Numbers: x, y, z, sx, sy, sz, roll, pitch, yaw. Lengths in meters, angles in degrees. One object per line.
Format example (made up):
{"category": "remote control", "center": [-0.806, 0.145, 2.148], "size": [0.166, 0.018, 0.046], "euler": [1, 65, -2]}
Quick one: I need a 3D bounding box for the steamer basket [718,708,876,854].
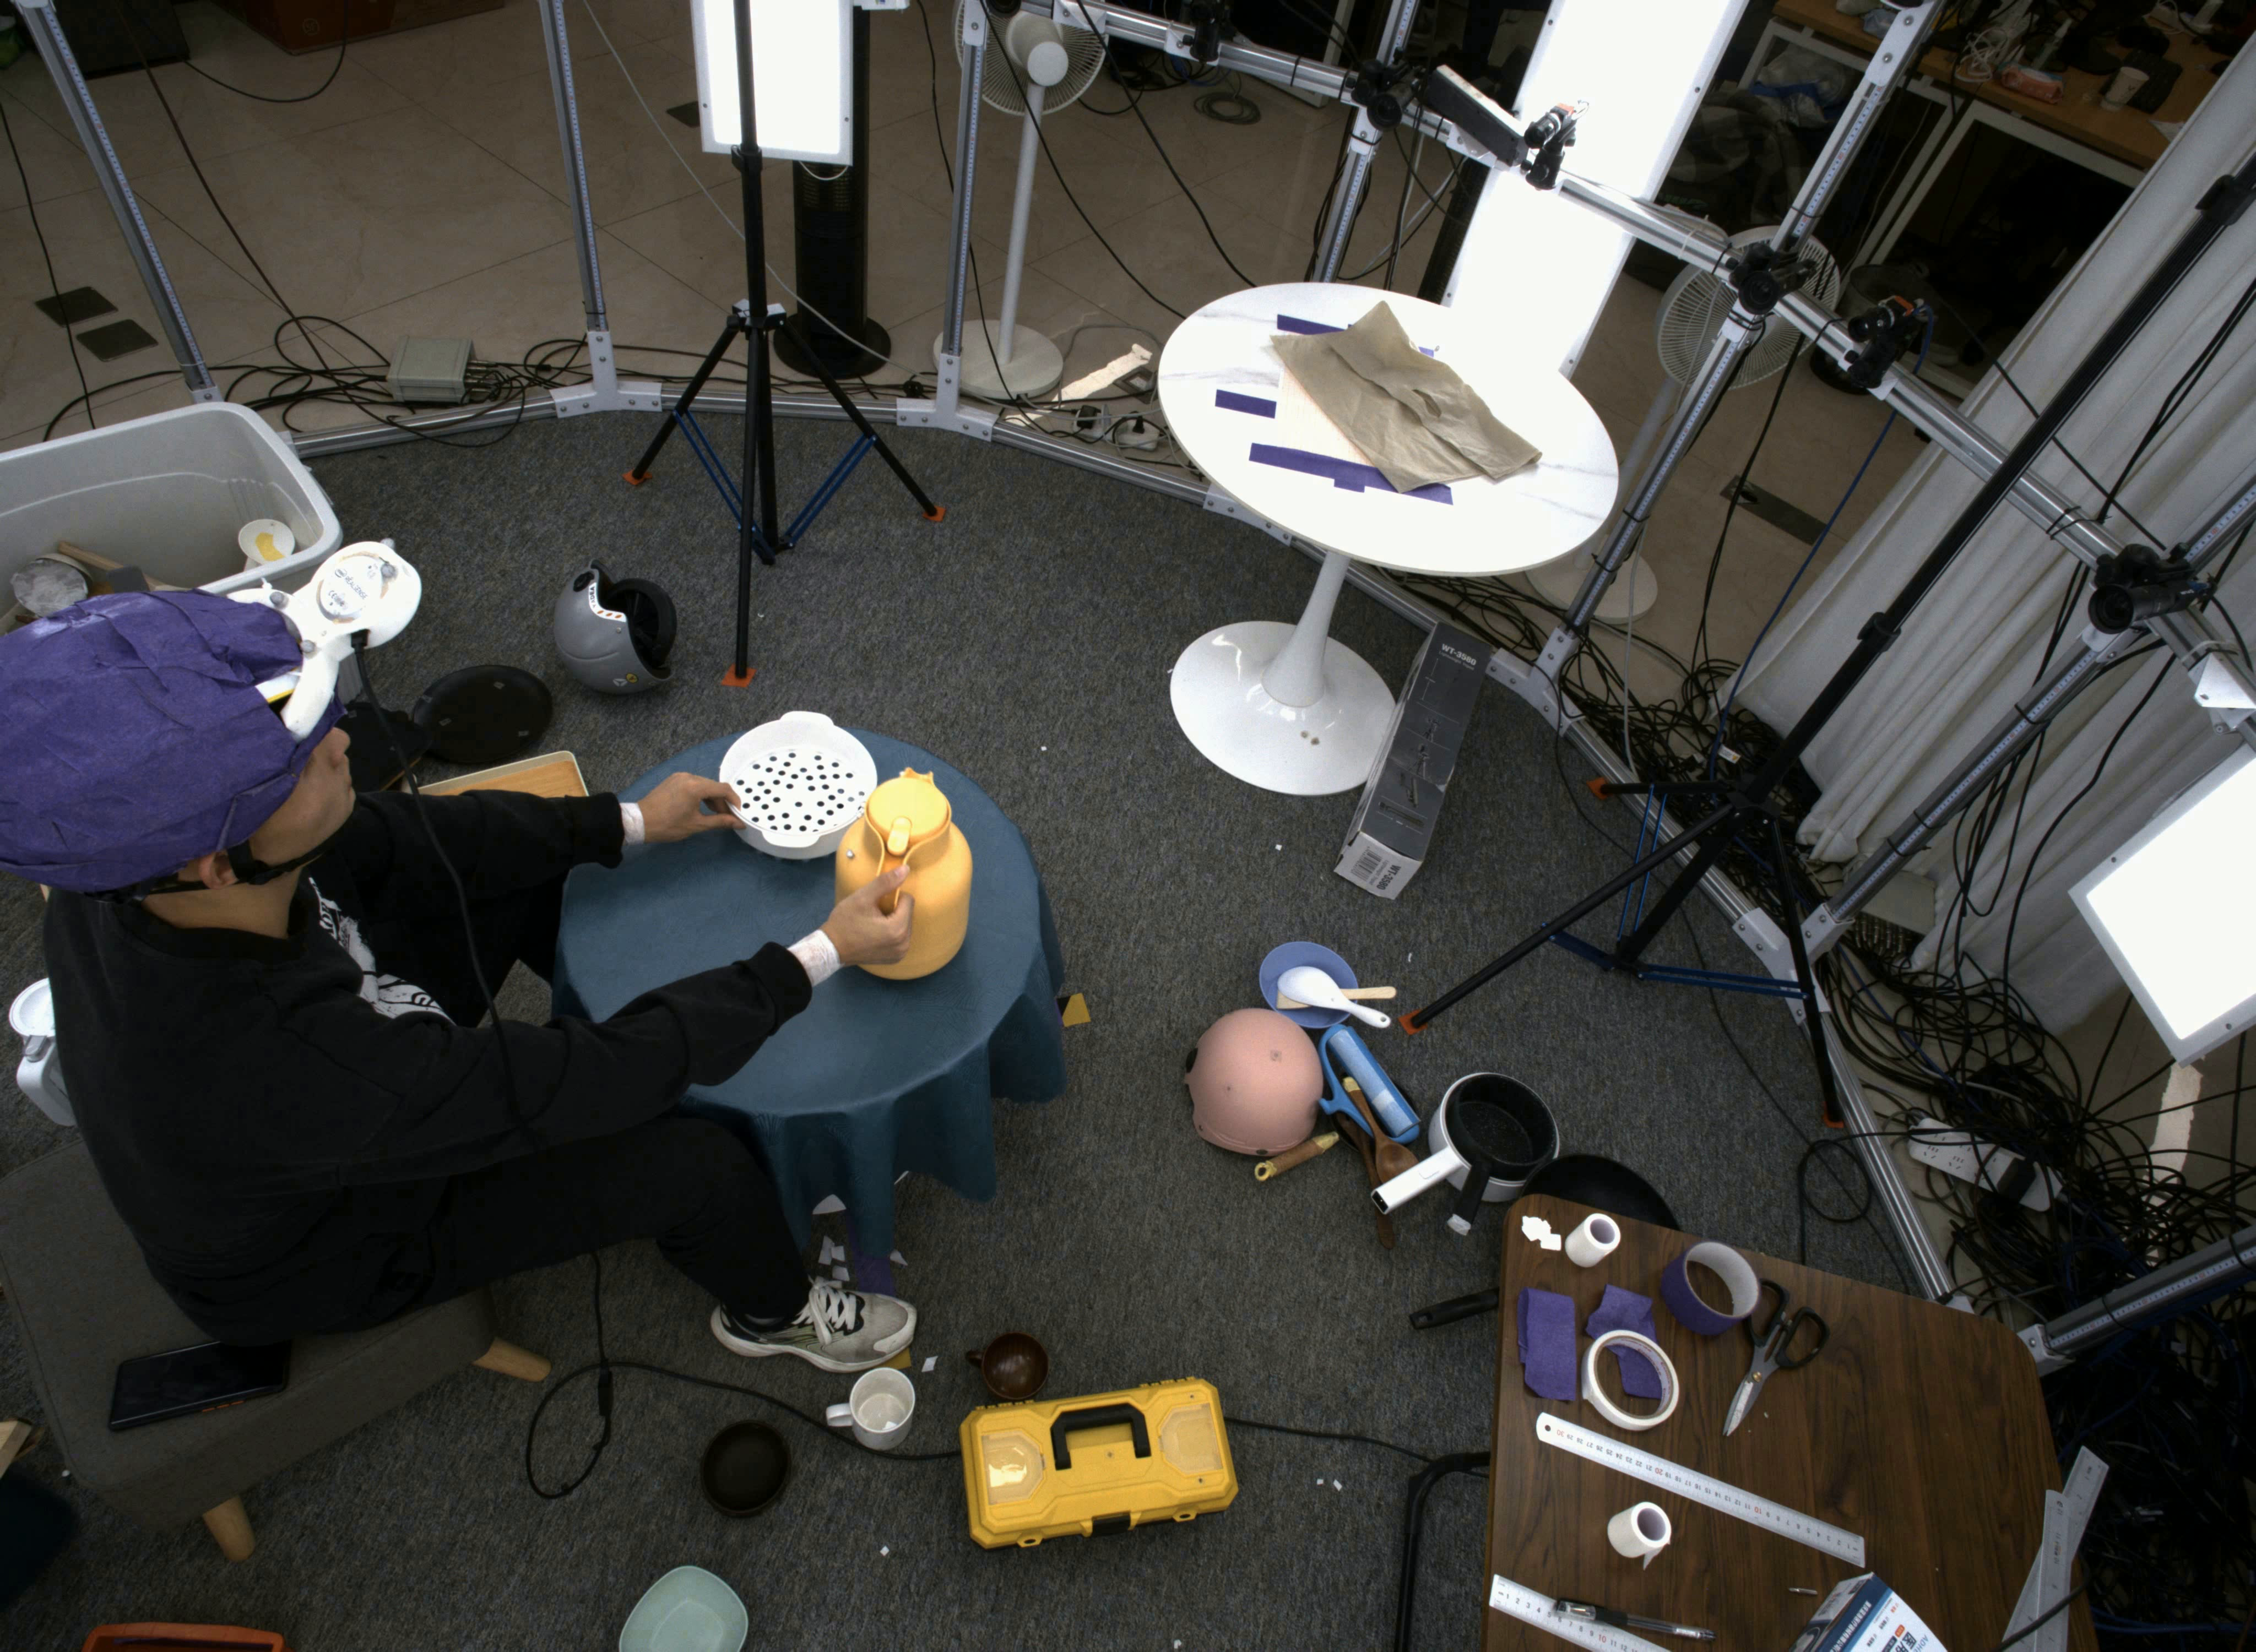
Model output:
{"category": "steamer basket", "center": [-0.435, -0.054, 1.709], "size": [0.202, 0.070, 0.225], "euler": [5, 49, -13]}

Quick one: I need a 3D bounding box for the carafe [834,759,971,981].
{"category": "carafe", "center": [-0.270, 0.064, 1.526], "size": [0.162, 0.267, 0.199], "euler": [9, 46, -1]}
